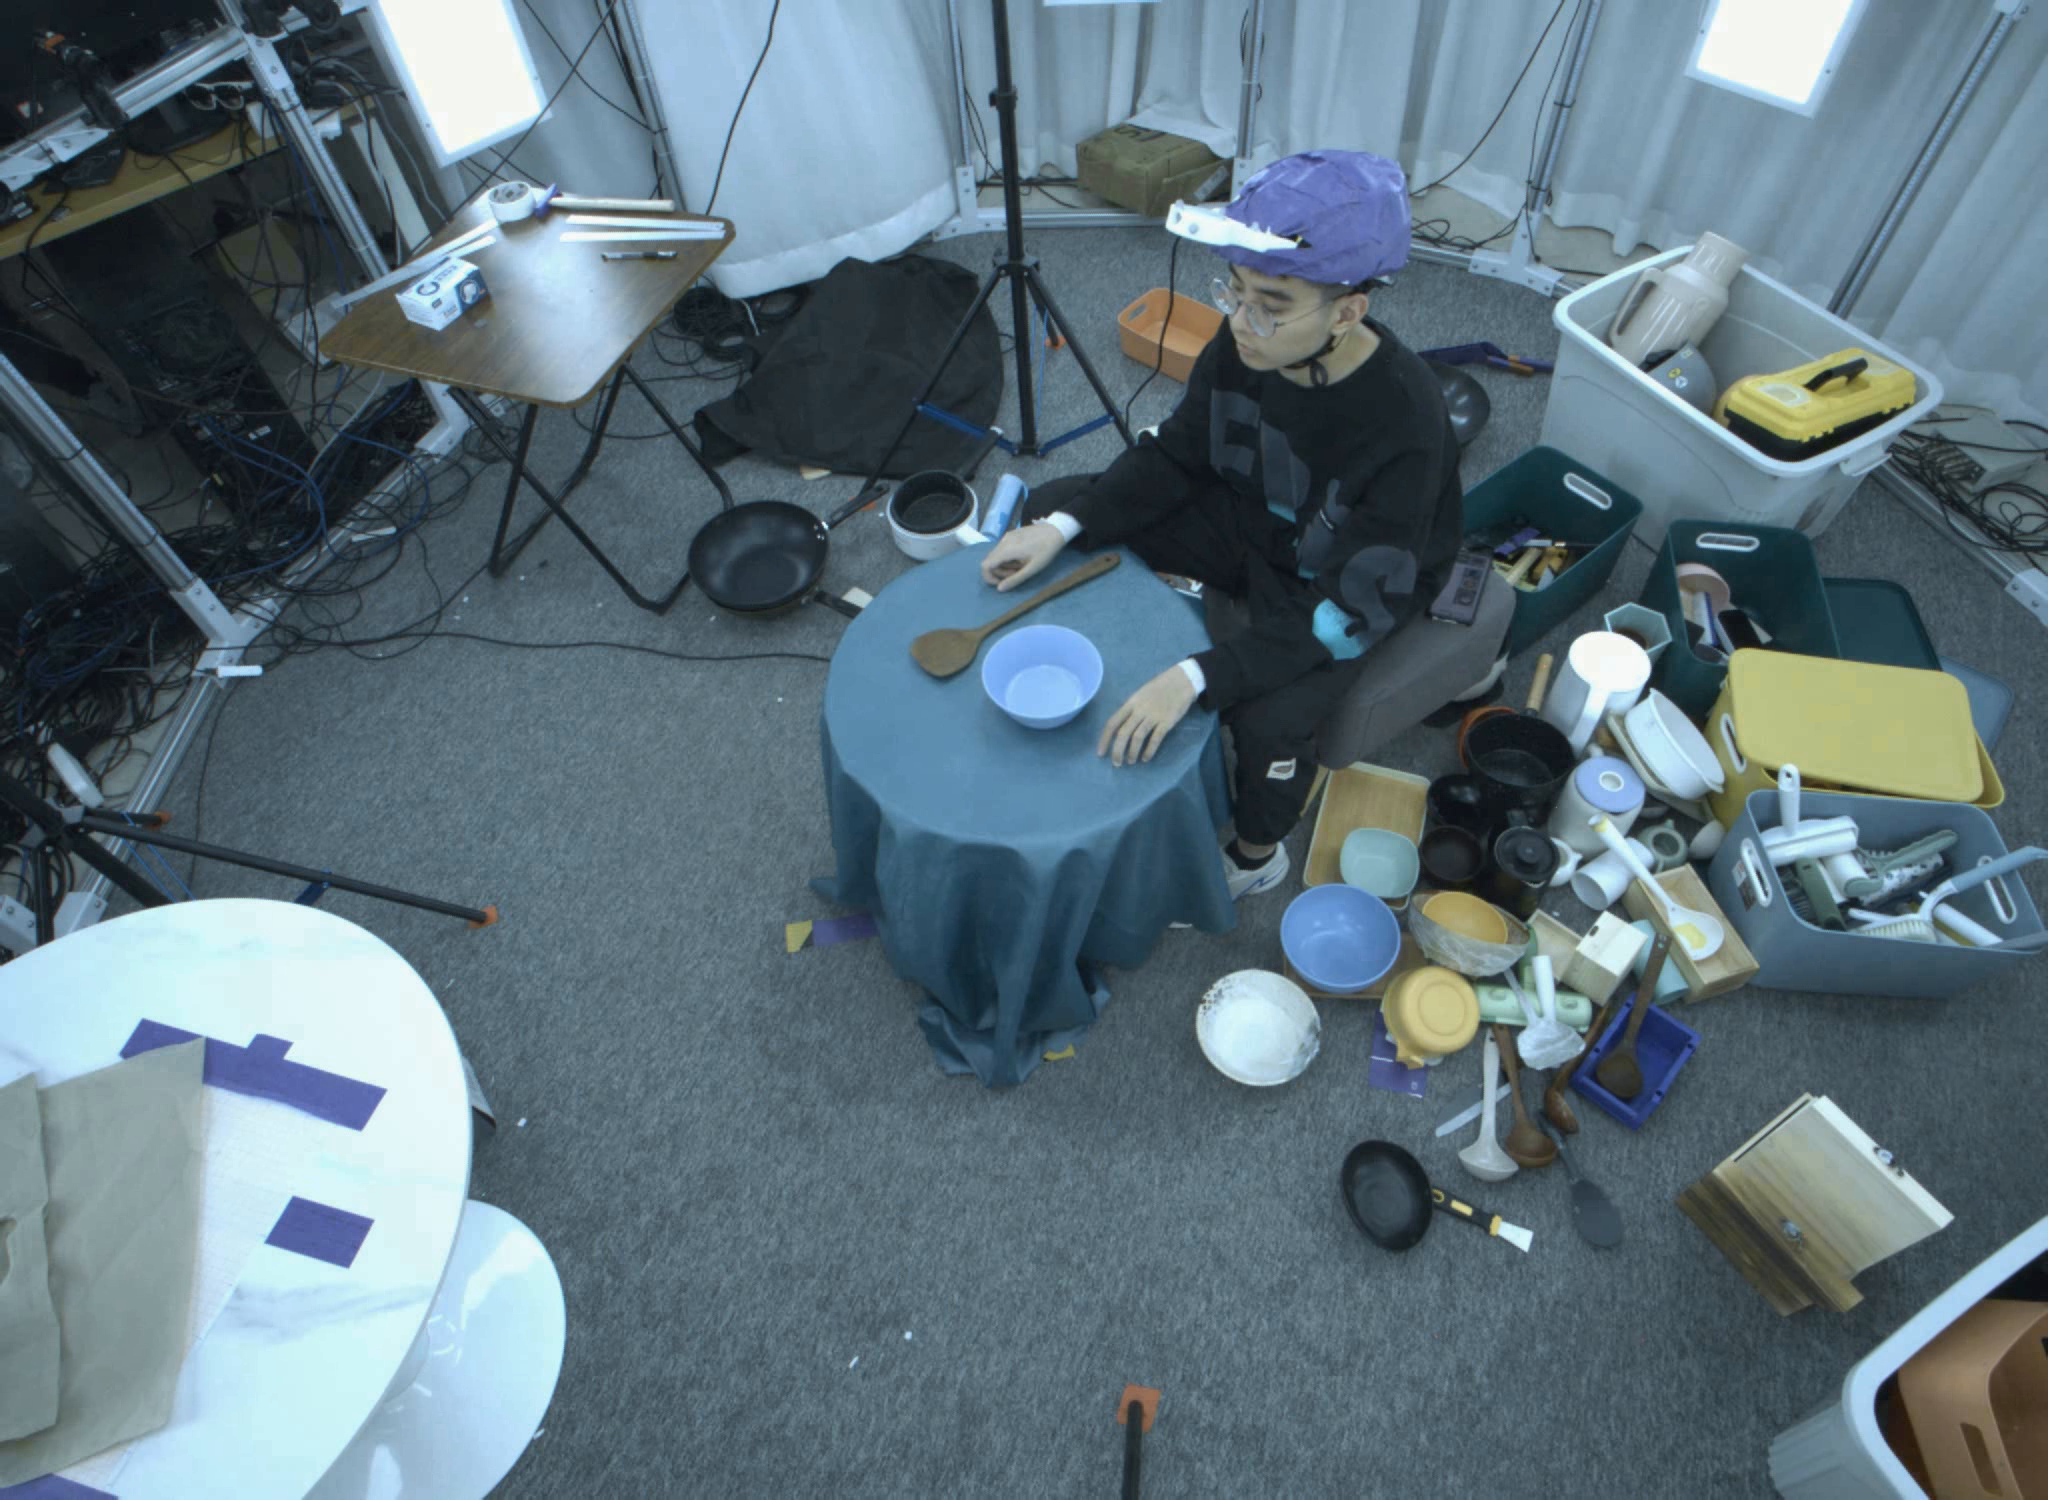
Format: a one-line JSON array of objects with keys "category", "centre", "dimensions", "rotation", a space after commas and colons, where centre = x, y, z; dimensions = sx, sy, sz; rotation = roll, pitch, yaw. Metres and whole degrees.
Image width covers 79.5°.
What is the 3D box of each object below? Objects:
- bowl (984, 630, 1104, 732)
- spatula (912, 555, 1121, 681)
[{"category": "bowl", "centre": [0.030, -0.092, 1.819], "dimensions": [0.176, 0.071, 0.174], "rotation": [0, 54, 1]}, {"category": "spatula", "centre": [-0.001, -0.221, 1.945], "dimensions": [0.389, 0.016, 0.094], "rotation": [-31, 60, -19]}]
